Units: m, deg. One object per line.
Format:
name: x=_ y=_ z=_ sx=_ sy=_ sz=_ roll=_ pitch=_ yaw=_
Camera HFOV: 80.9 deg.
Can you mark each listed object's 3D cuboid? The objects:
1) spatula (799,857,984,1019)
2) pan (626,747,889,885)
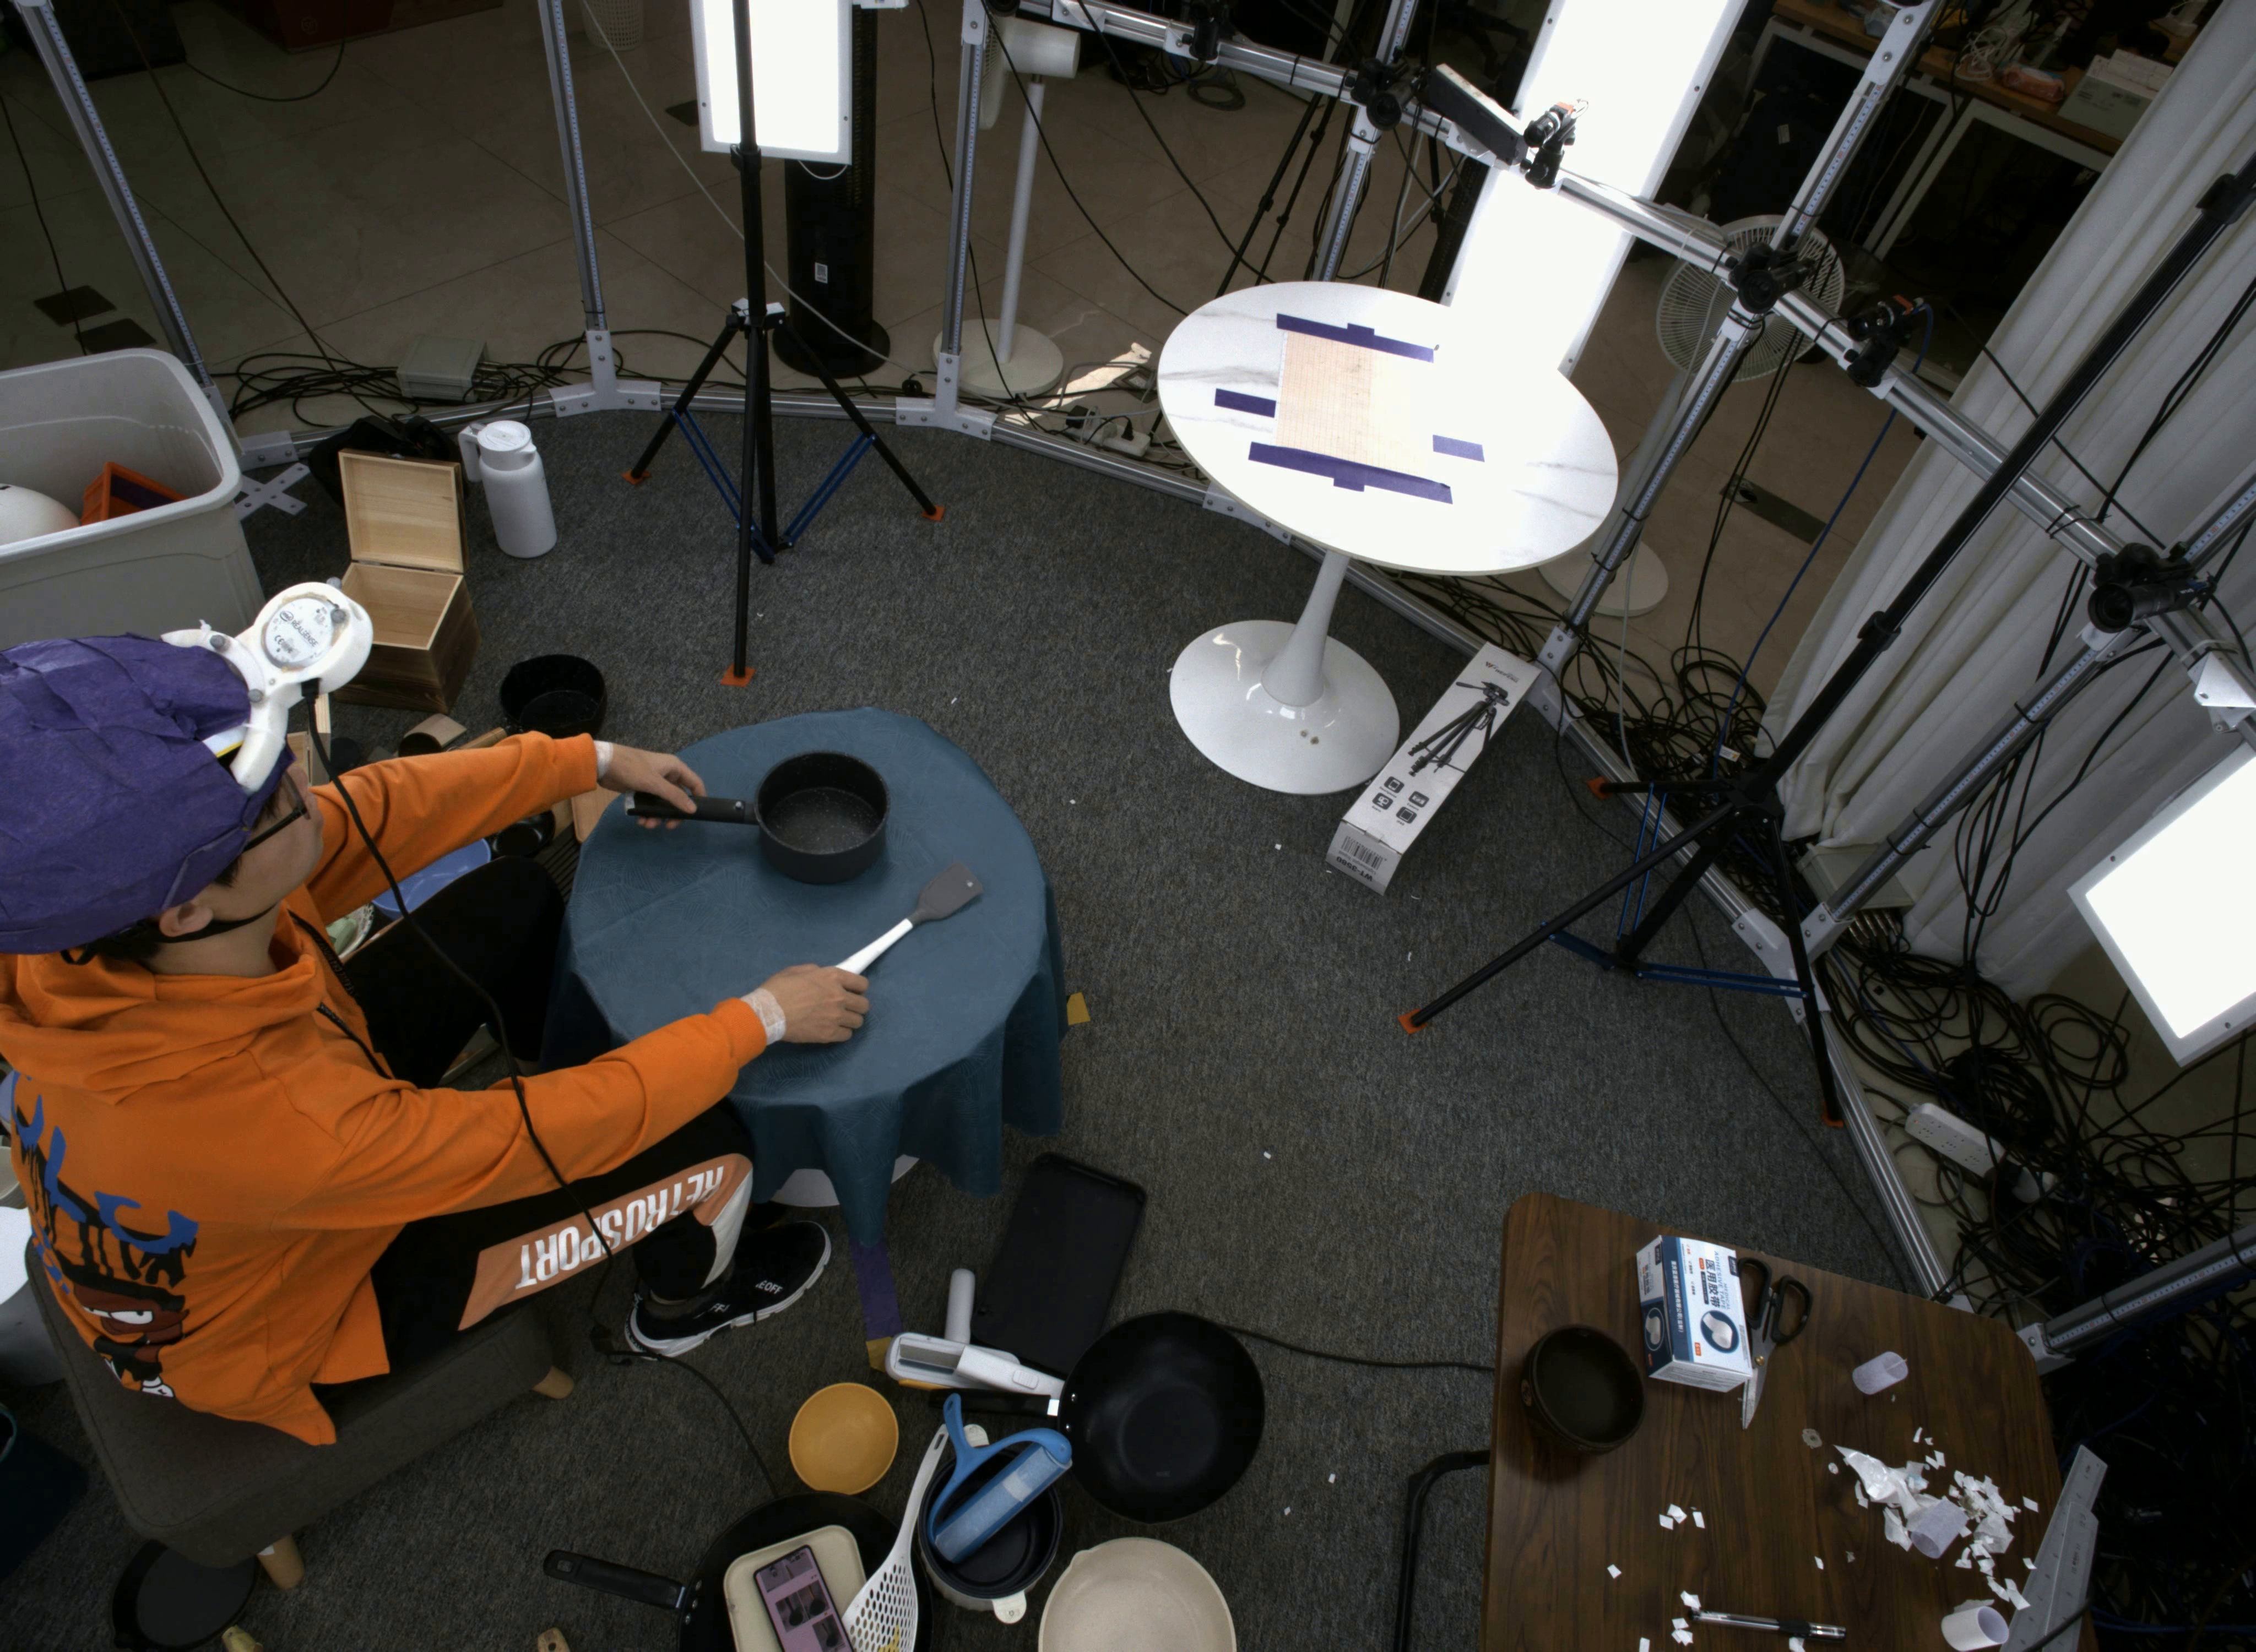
spatula: x=-0.293 y=0.137 z=1.625 sx=0.059 sy=0.032 sz=0.288 roll=49 pitch=55 yaw=0
pan: x=-0.474 y=-0.015 z=1.657 sx=0.330 sy=0.088 sz=0.168 roll=2 pitch=52 yaw=-15
